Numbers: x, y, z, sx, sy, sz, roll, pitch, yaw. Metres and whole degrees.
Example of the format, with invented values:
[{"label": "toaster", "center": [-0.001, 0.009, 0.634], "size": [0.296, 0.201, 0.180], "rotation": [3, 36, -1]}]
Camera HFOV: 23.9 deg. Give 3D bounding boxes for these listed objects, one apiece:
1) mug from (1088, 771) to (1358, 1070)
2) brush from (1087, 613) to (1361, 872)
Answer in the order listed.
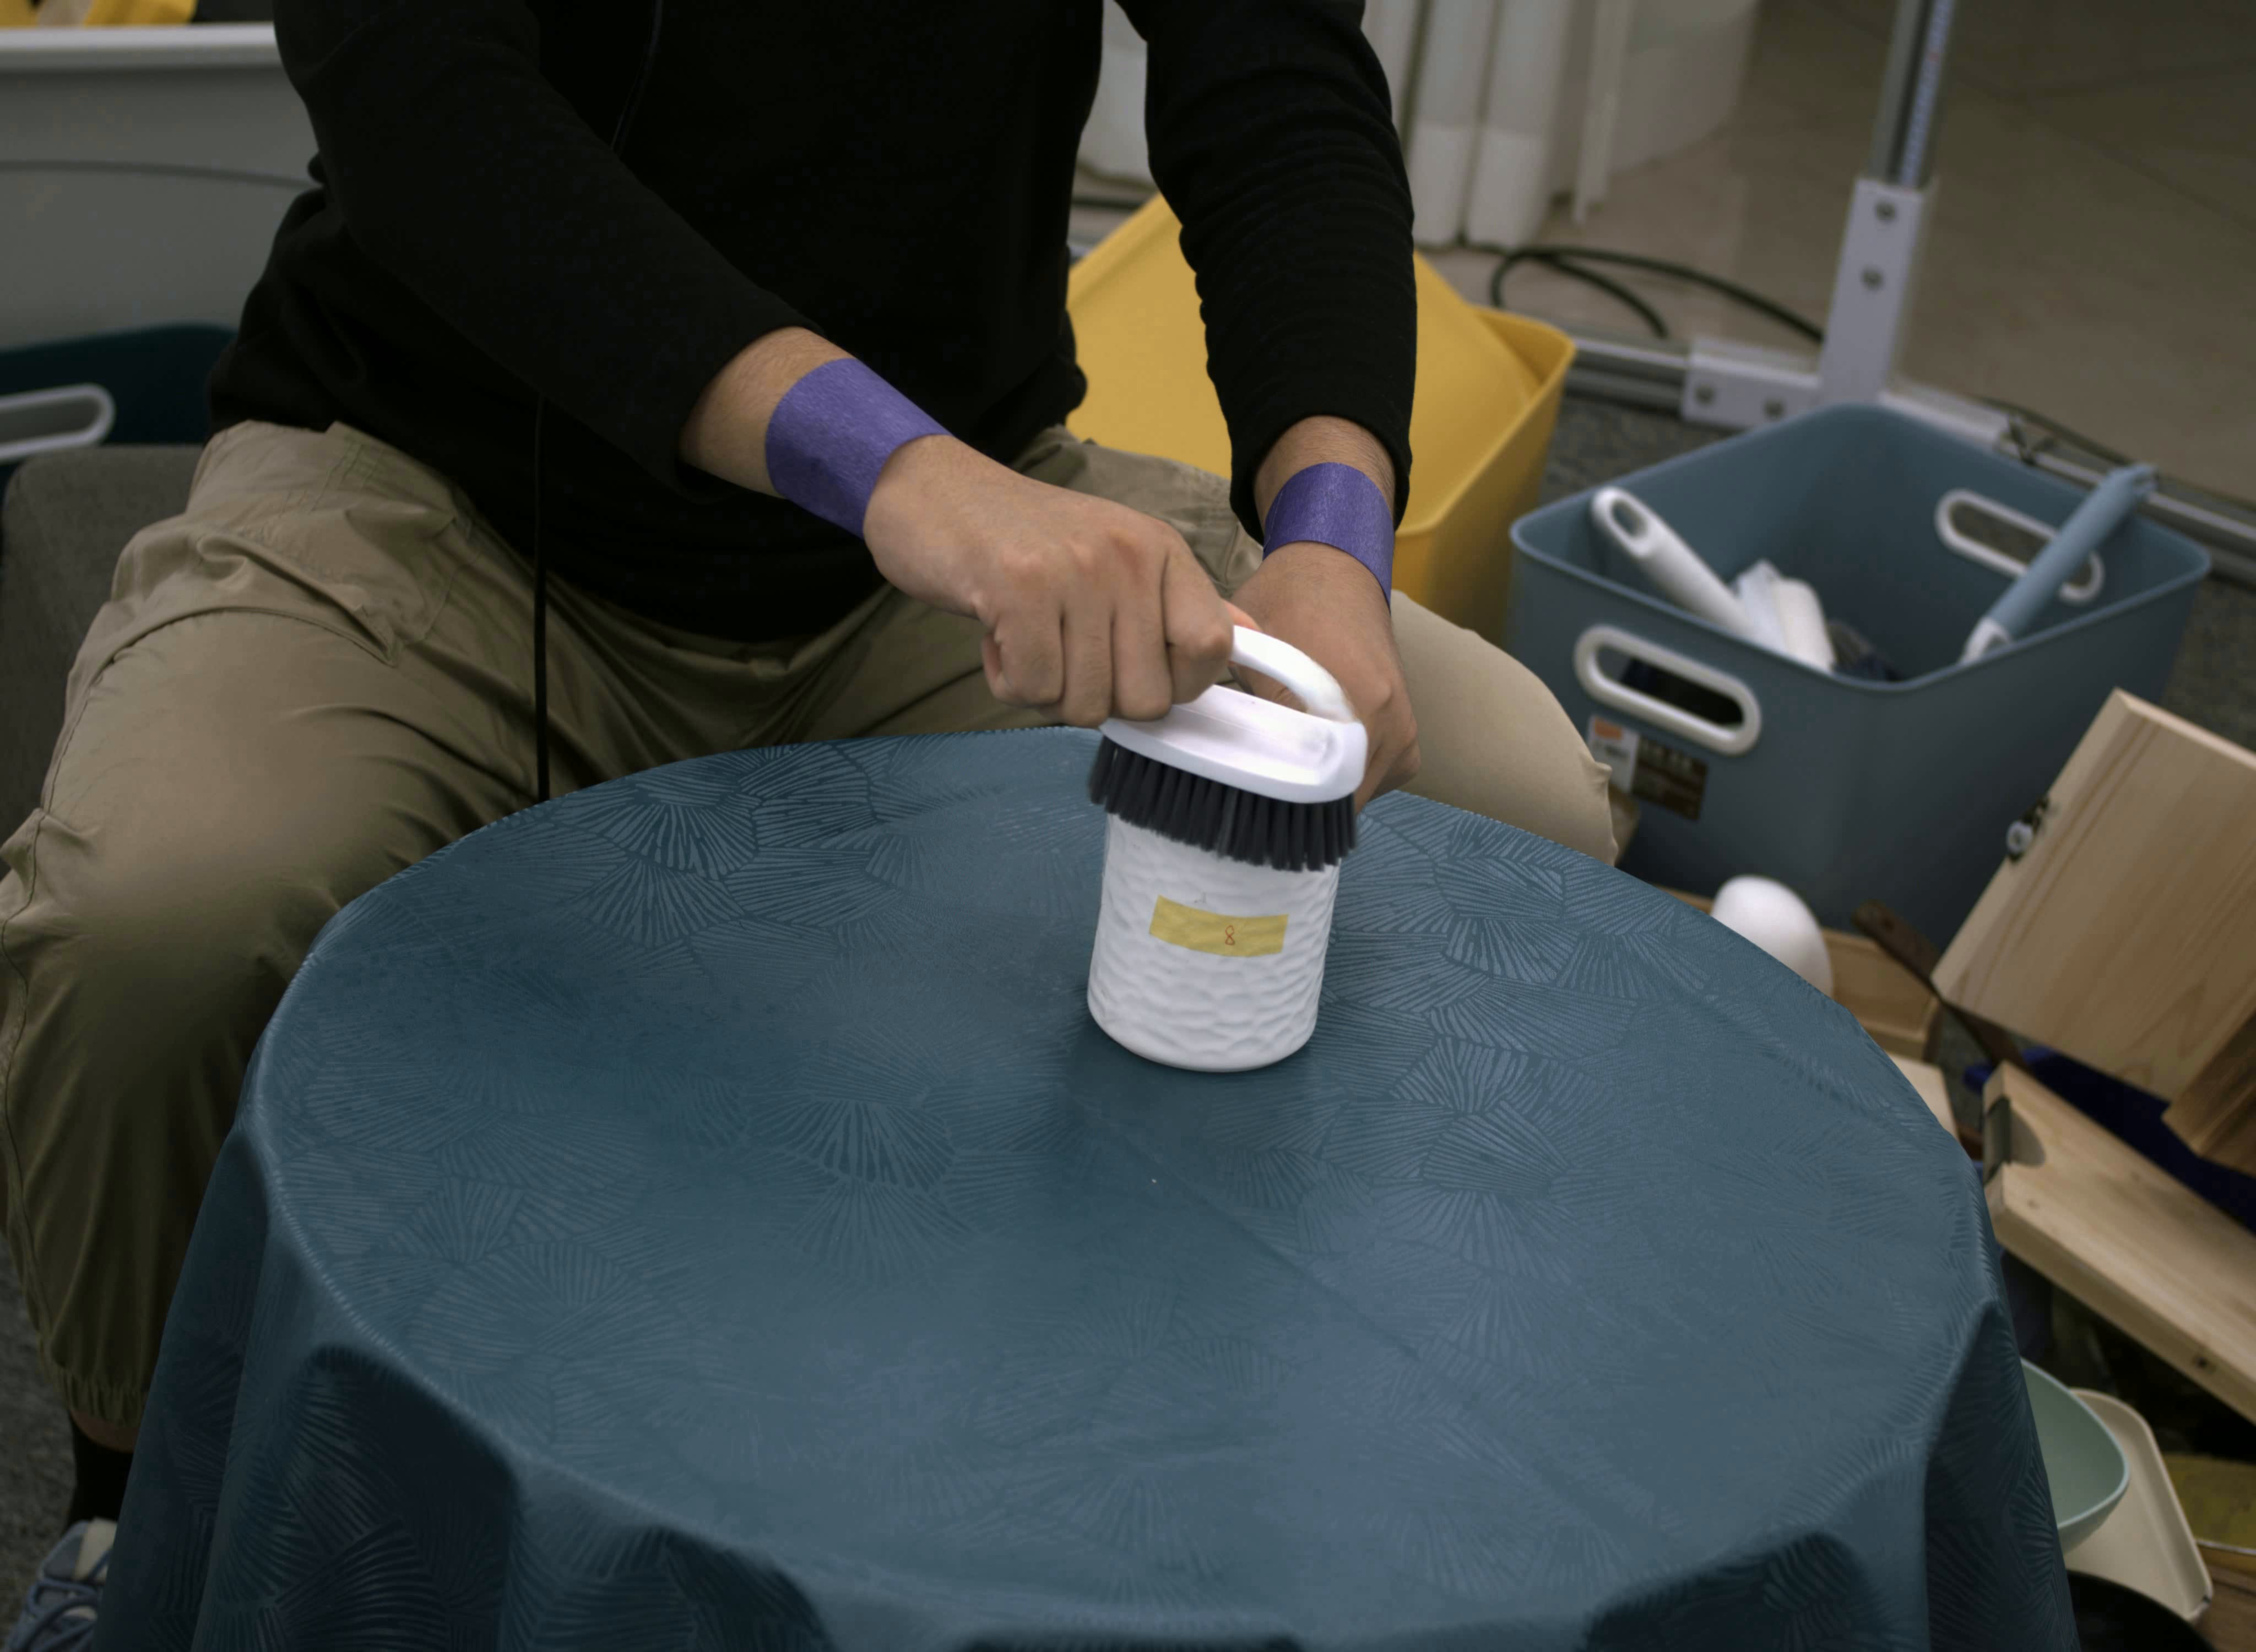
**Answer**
[{"label": "mug", "center": [0.038, 0.018, 1.904], "size": [0.085, 0.101, 0.118], "rotation": [17, 27, 16]}, {"label": "brush", "center": [0.034, -0.035, 1.826], "size": [0.099, 0.072, 0.050], "rotation": [21, 33, 25]}]
